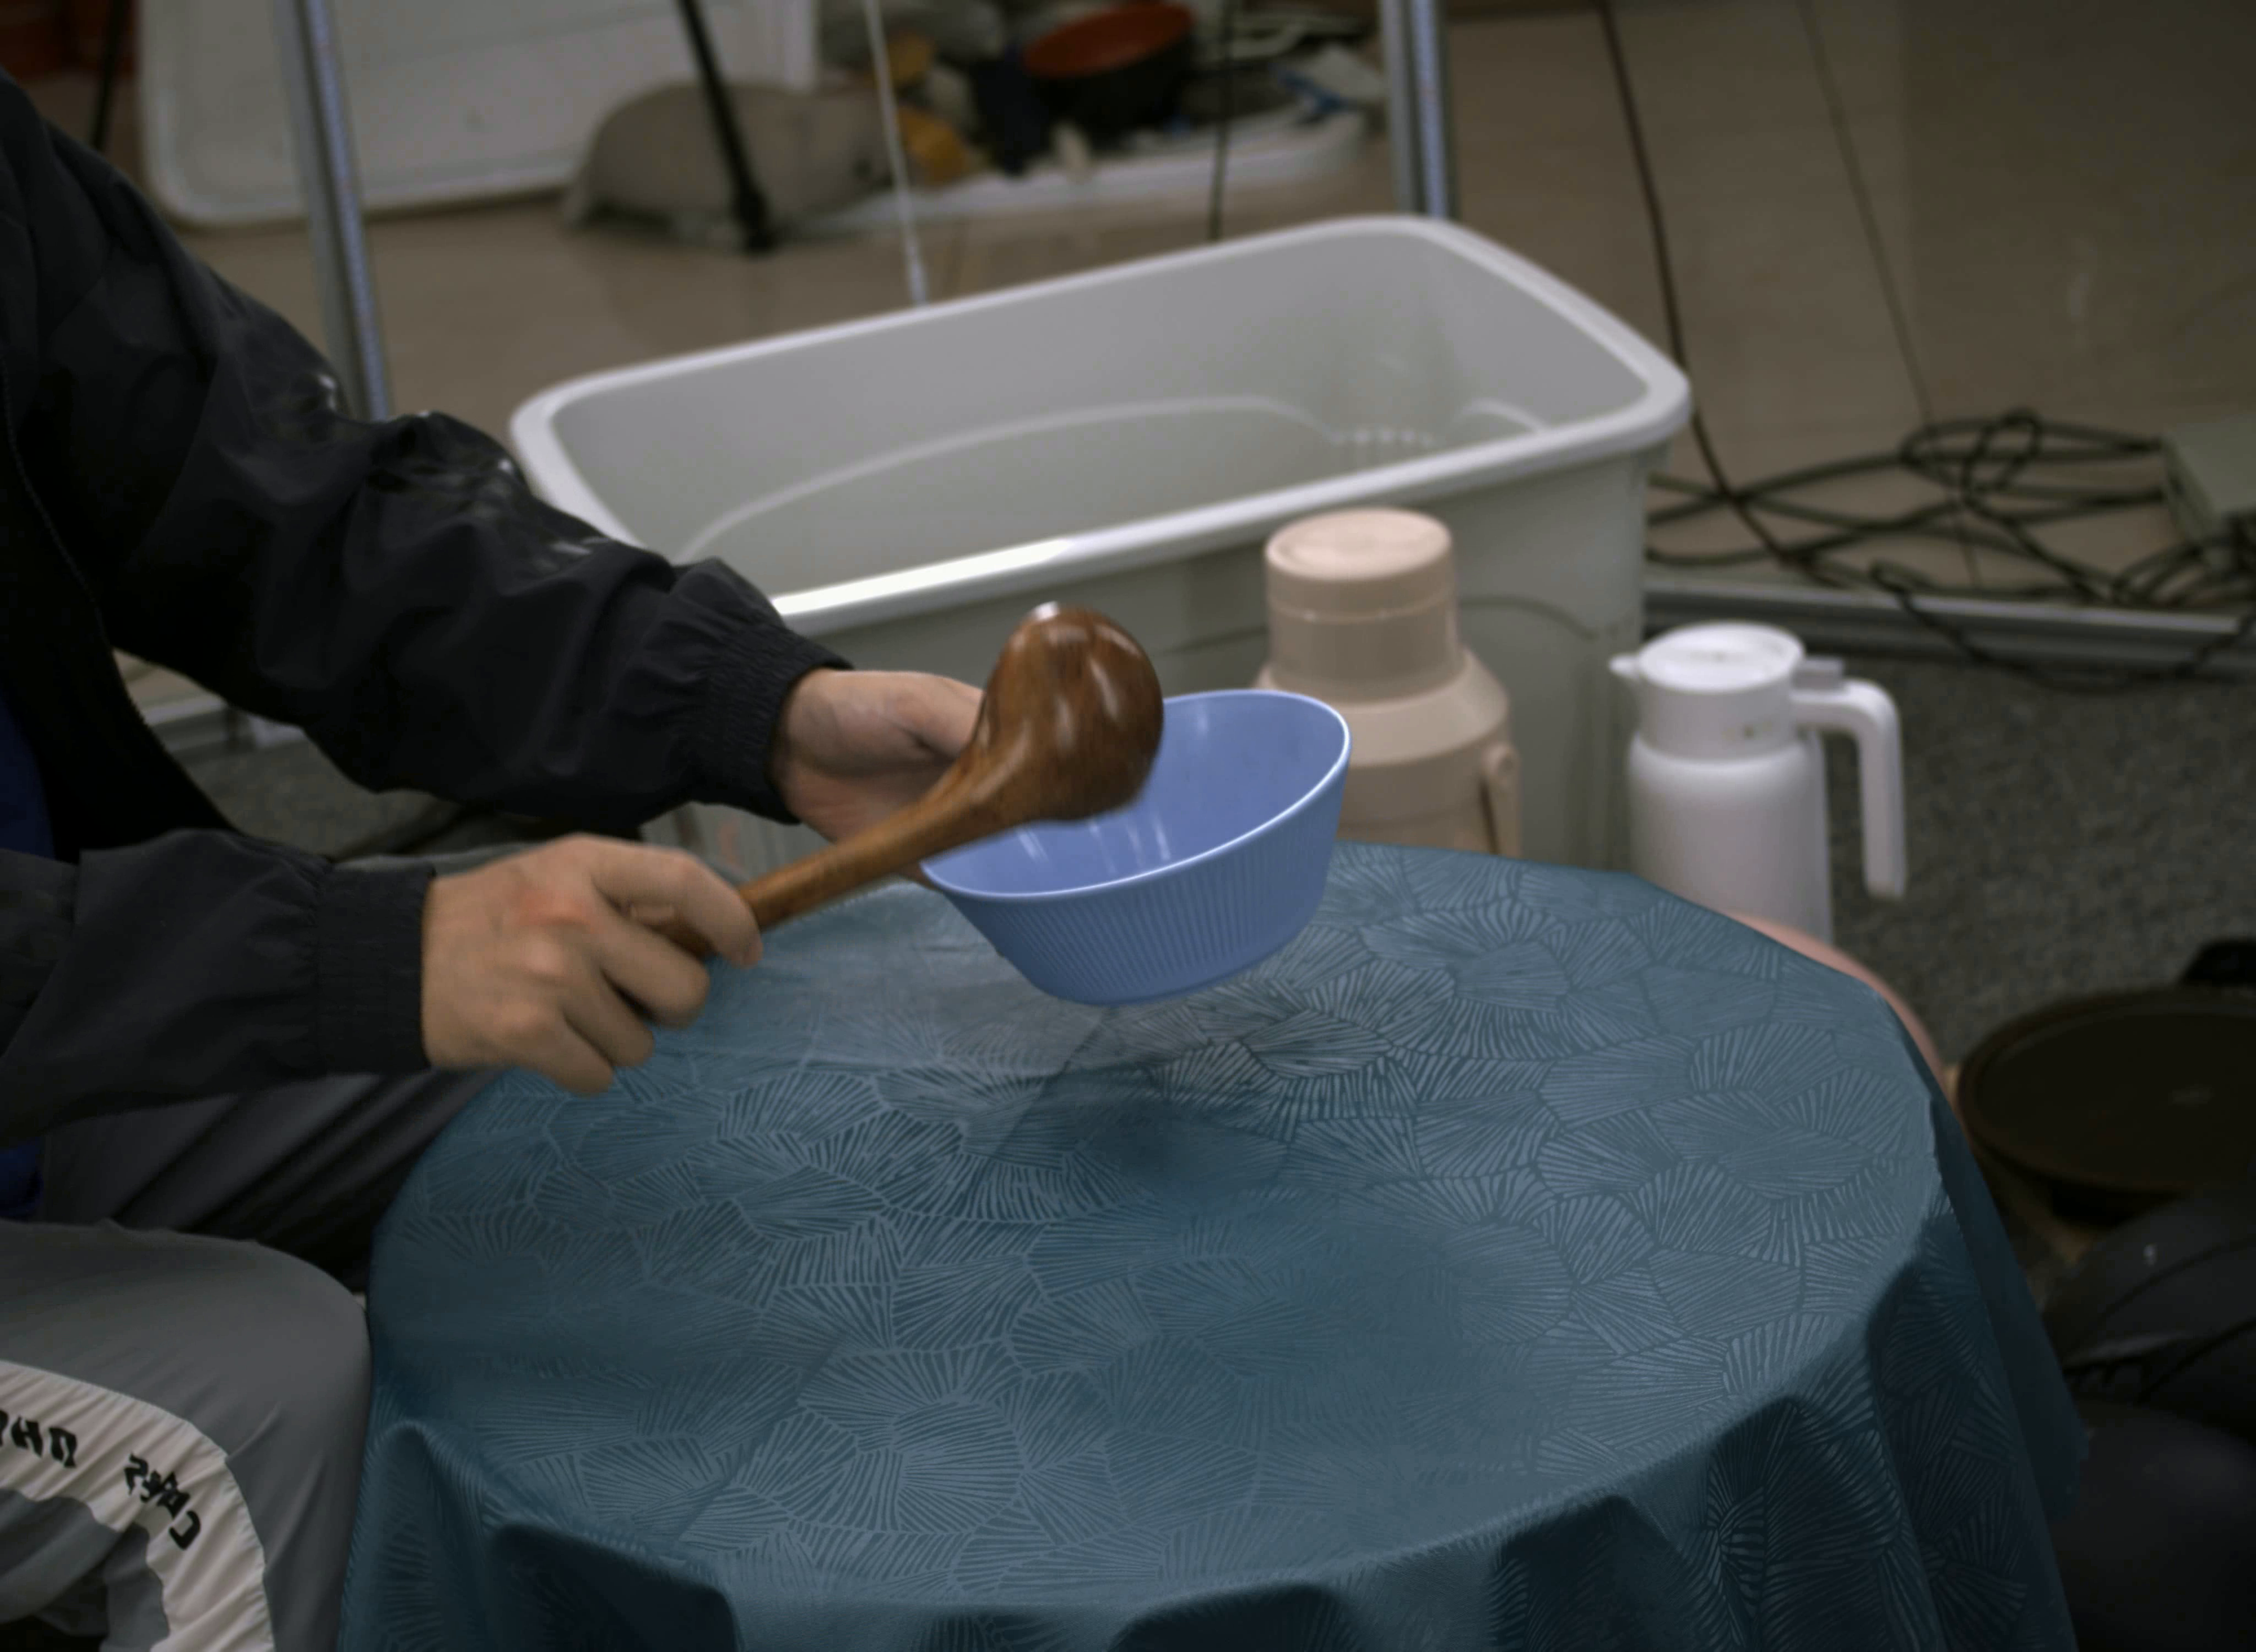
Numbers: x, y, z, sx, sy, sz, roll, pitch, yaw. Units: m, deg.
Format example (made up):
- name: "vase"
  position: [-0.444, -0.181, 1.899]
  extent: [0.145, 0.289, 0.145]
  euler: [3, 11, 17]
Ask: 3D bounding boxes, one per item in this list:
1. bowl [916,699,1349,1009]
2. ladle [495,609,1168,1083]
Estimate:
- name: "bowl"
  position: [0.010, 0.016, 2.211]
  extent: [0.176, 0.071, 0.173]
  euler: [-15, 21, 6]
- name: "ladle"
  position: [-0.111, 0.008, 2.068]
  extent: [0.275, 0.083, 0.075]
  euler: [-27, 23, 15]
